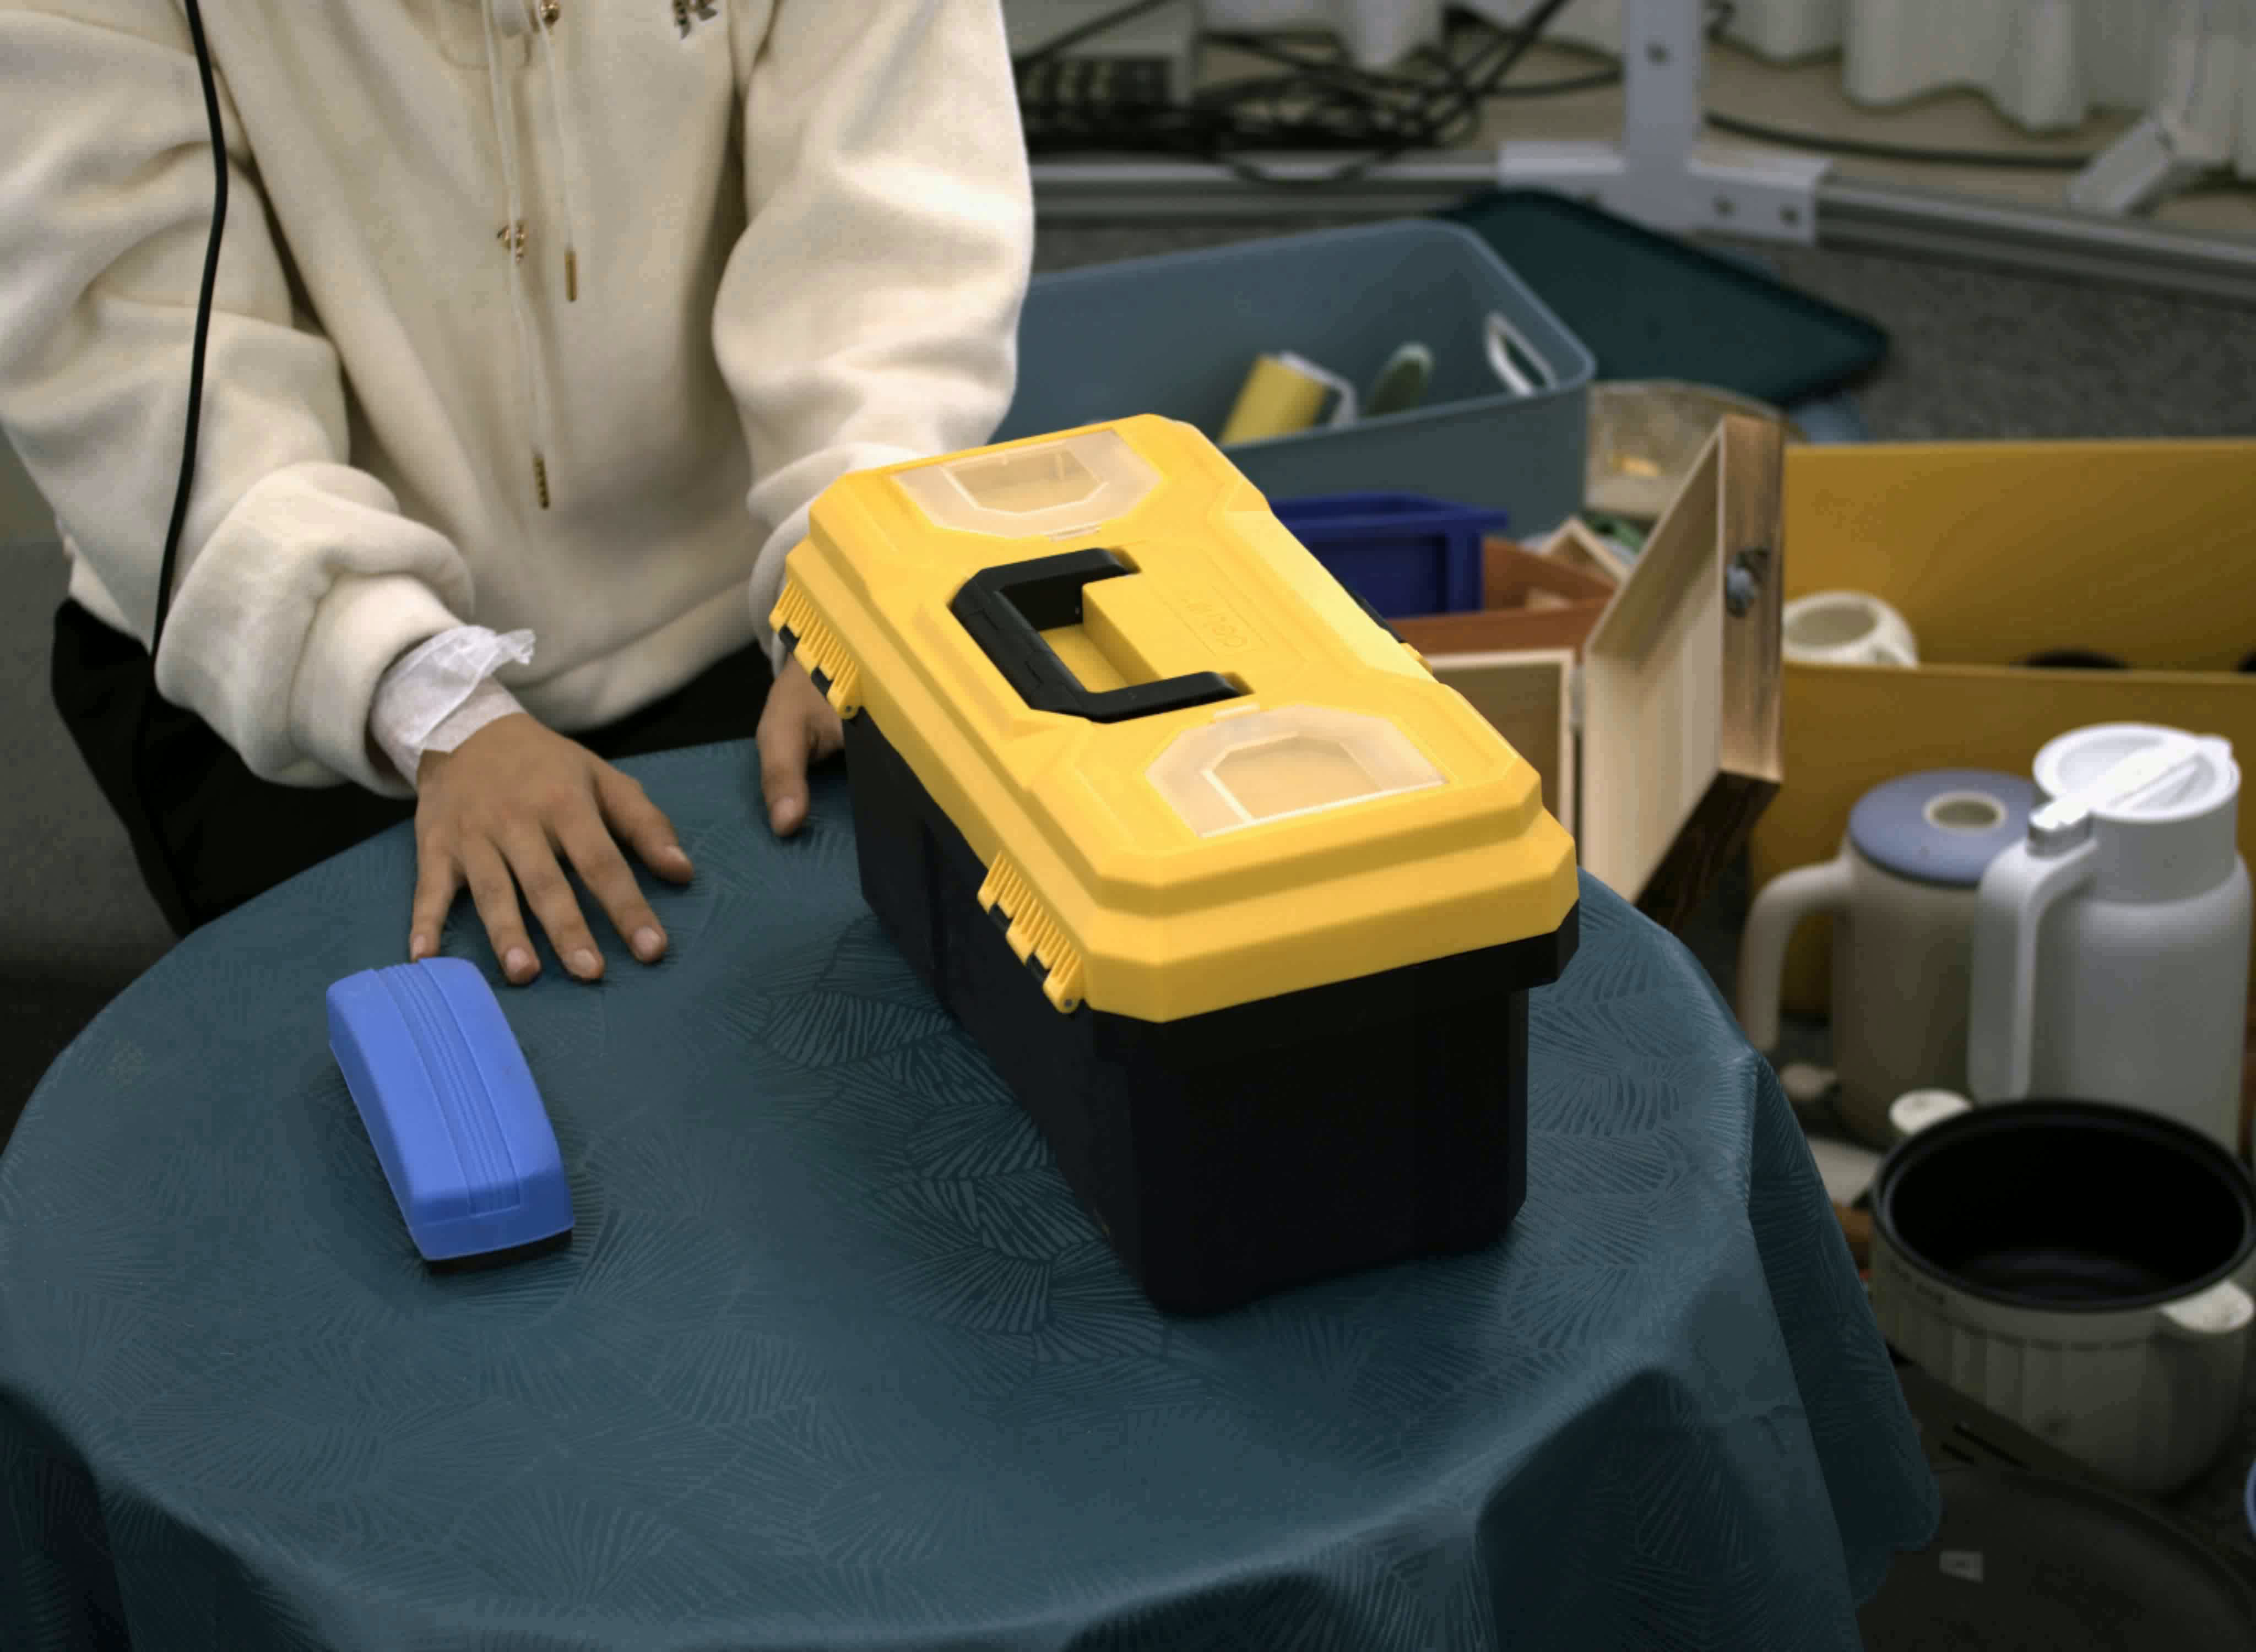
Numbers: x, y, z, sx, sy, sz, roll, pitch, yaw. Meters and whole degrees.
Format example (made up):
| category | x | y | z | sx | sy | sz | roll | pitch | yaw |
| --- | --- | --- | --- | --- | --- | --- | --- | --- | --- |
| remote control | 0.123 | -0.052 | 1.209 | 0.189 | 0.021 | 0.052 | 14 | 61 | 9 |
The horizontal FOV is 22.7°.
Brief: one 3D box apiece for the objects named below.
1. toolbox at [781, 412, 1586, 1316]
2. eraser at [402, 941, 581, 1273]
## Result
| category | x | y | z | sx | sy | sz | roll | pitch | yaw |
| --- | --- | --- | --- | --- | --- | --- | --- | --- | --- |
| toolbox | 0.013 | 0.005 | 1.899 | 0.181 | 0.171 | 0.354 | -12 | 29 | -16 |
| eraser | -0.216 | 0.089 | 1.891 | 0.054 | 0.047 | 0.164 | -8 | 30 | -5 |
